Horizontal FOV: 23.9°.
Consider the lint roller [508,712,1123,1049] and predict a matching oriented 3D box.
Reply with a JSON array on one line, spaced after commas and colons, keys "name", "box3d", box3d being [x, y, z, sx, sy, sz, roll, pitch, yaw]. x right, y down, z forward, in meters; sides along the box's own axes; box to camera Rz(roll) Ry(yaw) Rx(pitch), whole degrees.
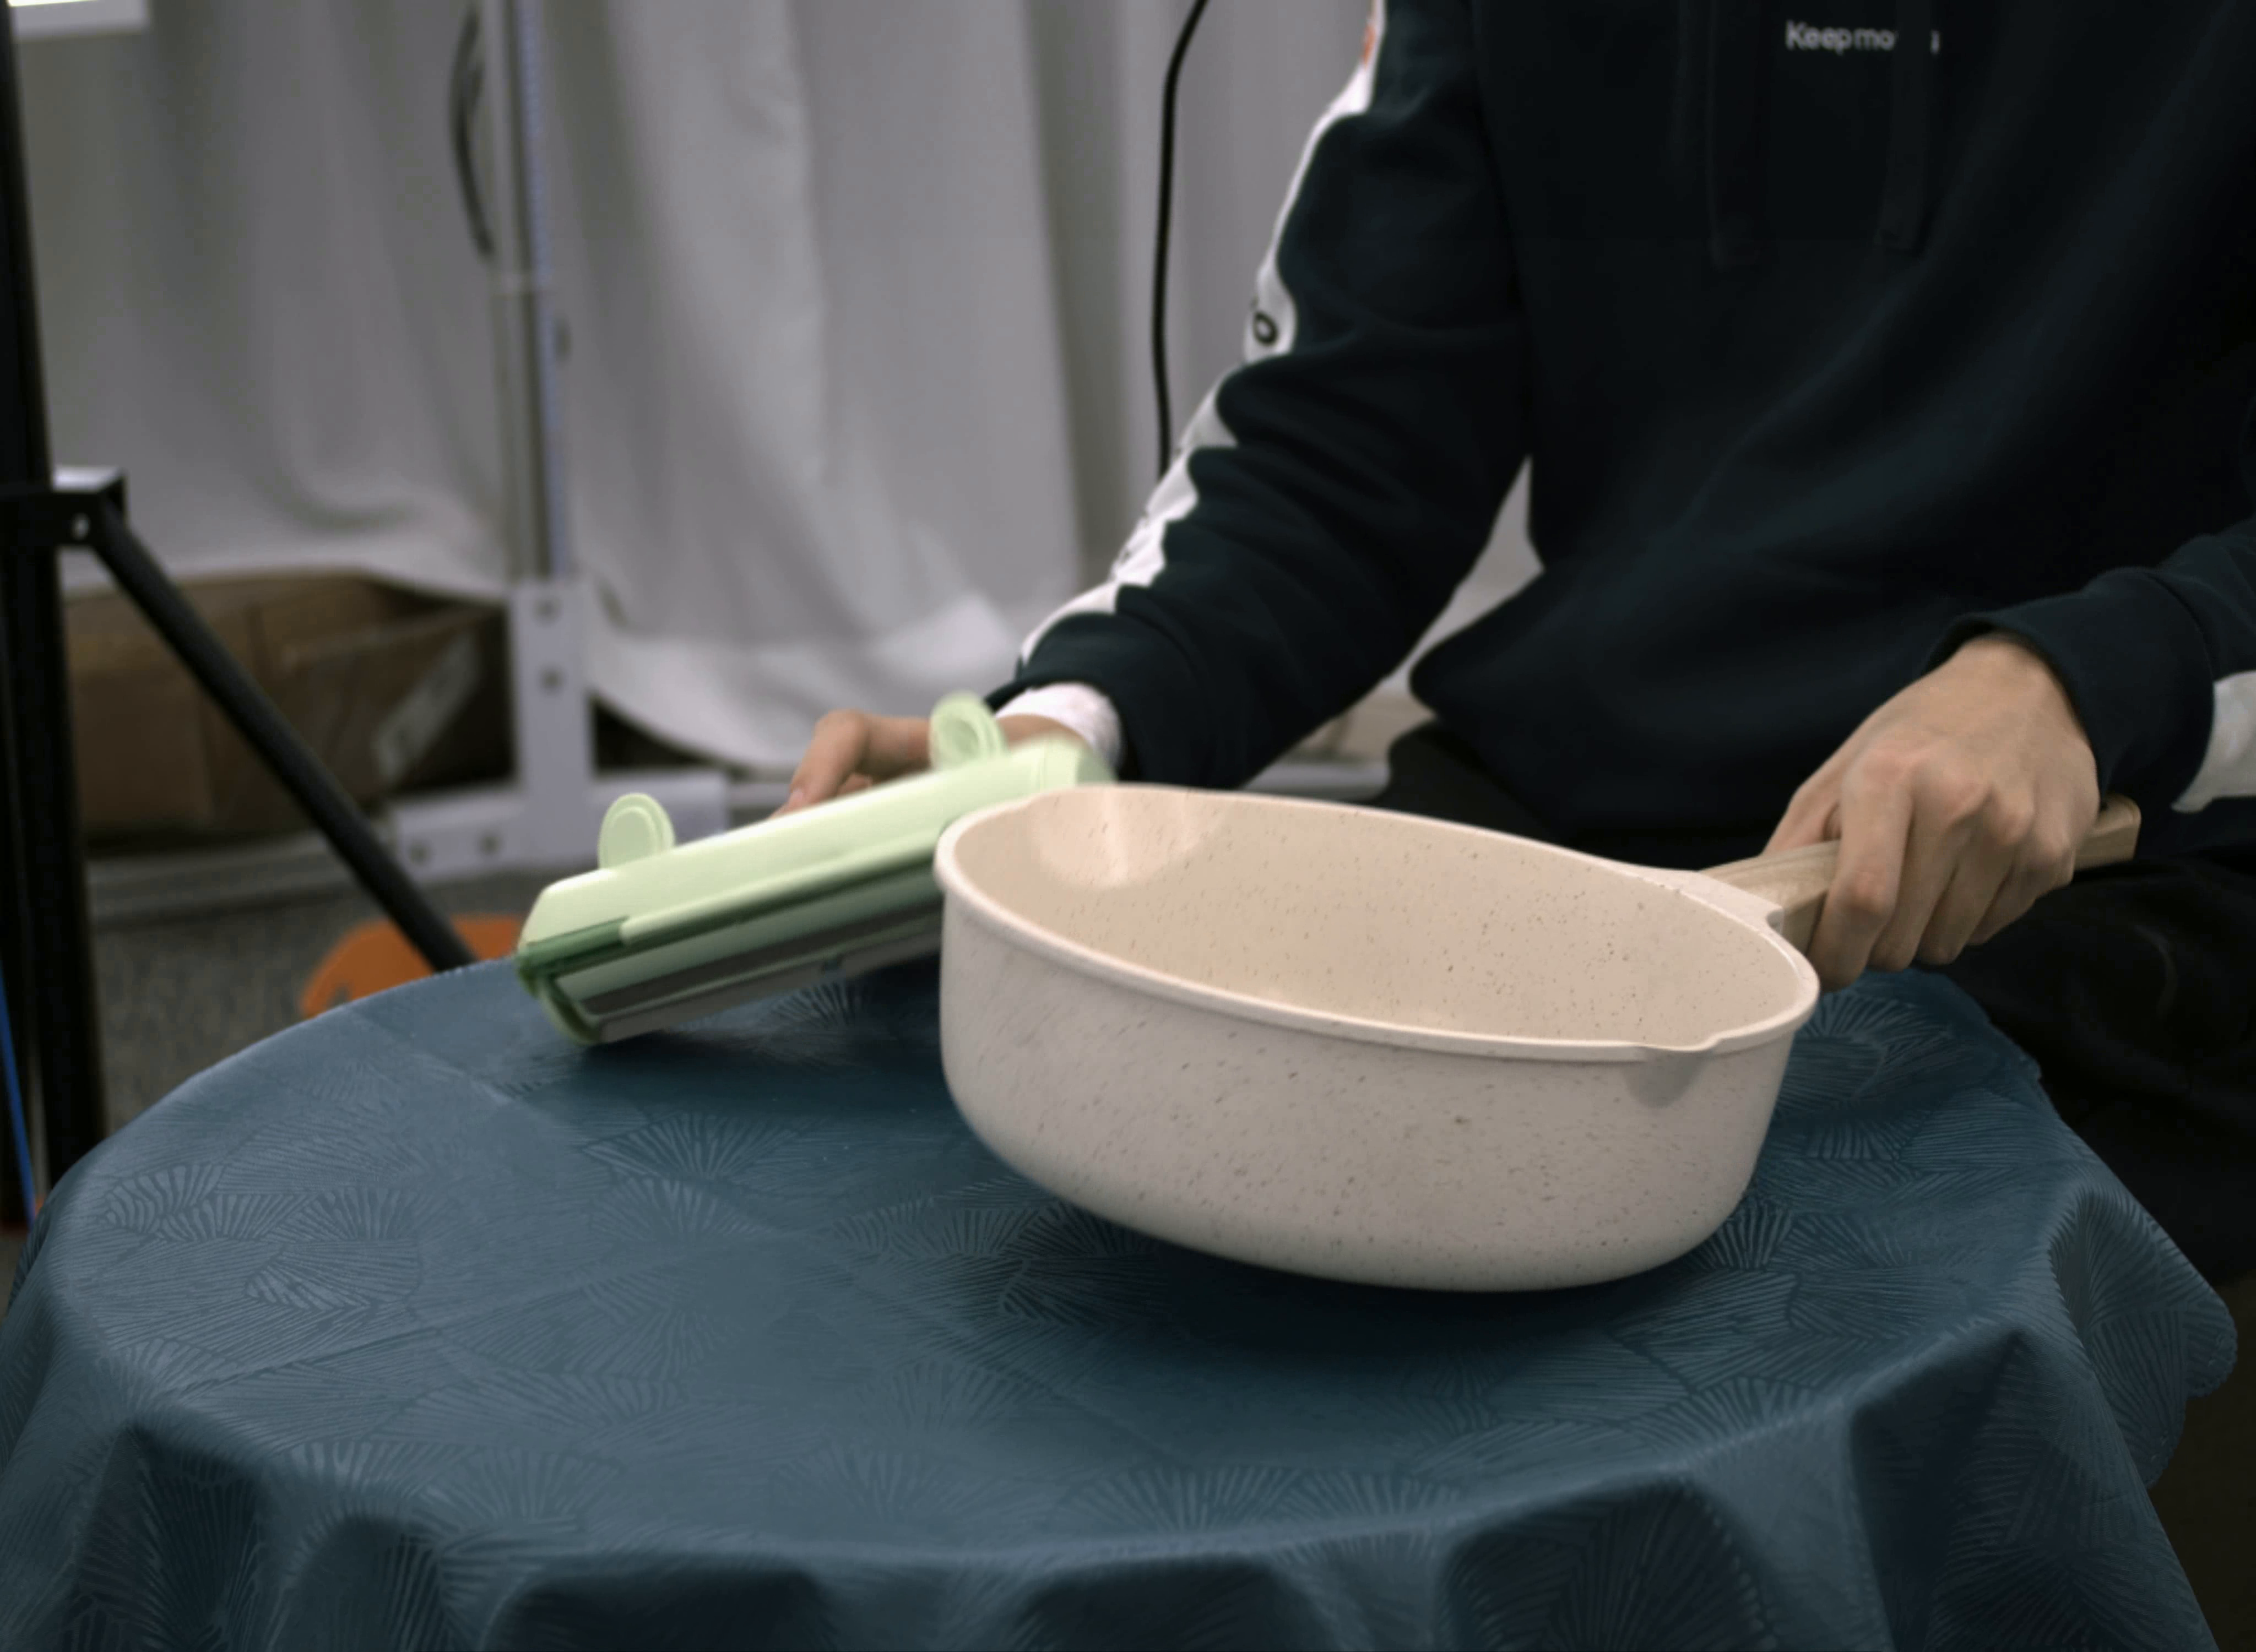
[{"name": "lint roller", "box3d": [-0.086, 0.005, 1.737, 0.200, 0.082, 0.181, -14, 10, 20]}]

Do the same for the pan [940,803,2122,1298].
[{"name": "pan", "box3d": [0.139, 0.054, 1.545, 0.424, 0.102, 0.269, -3, 15, -38]}]
